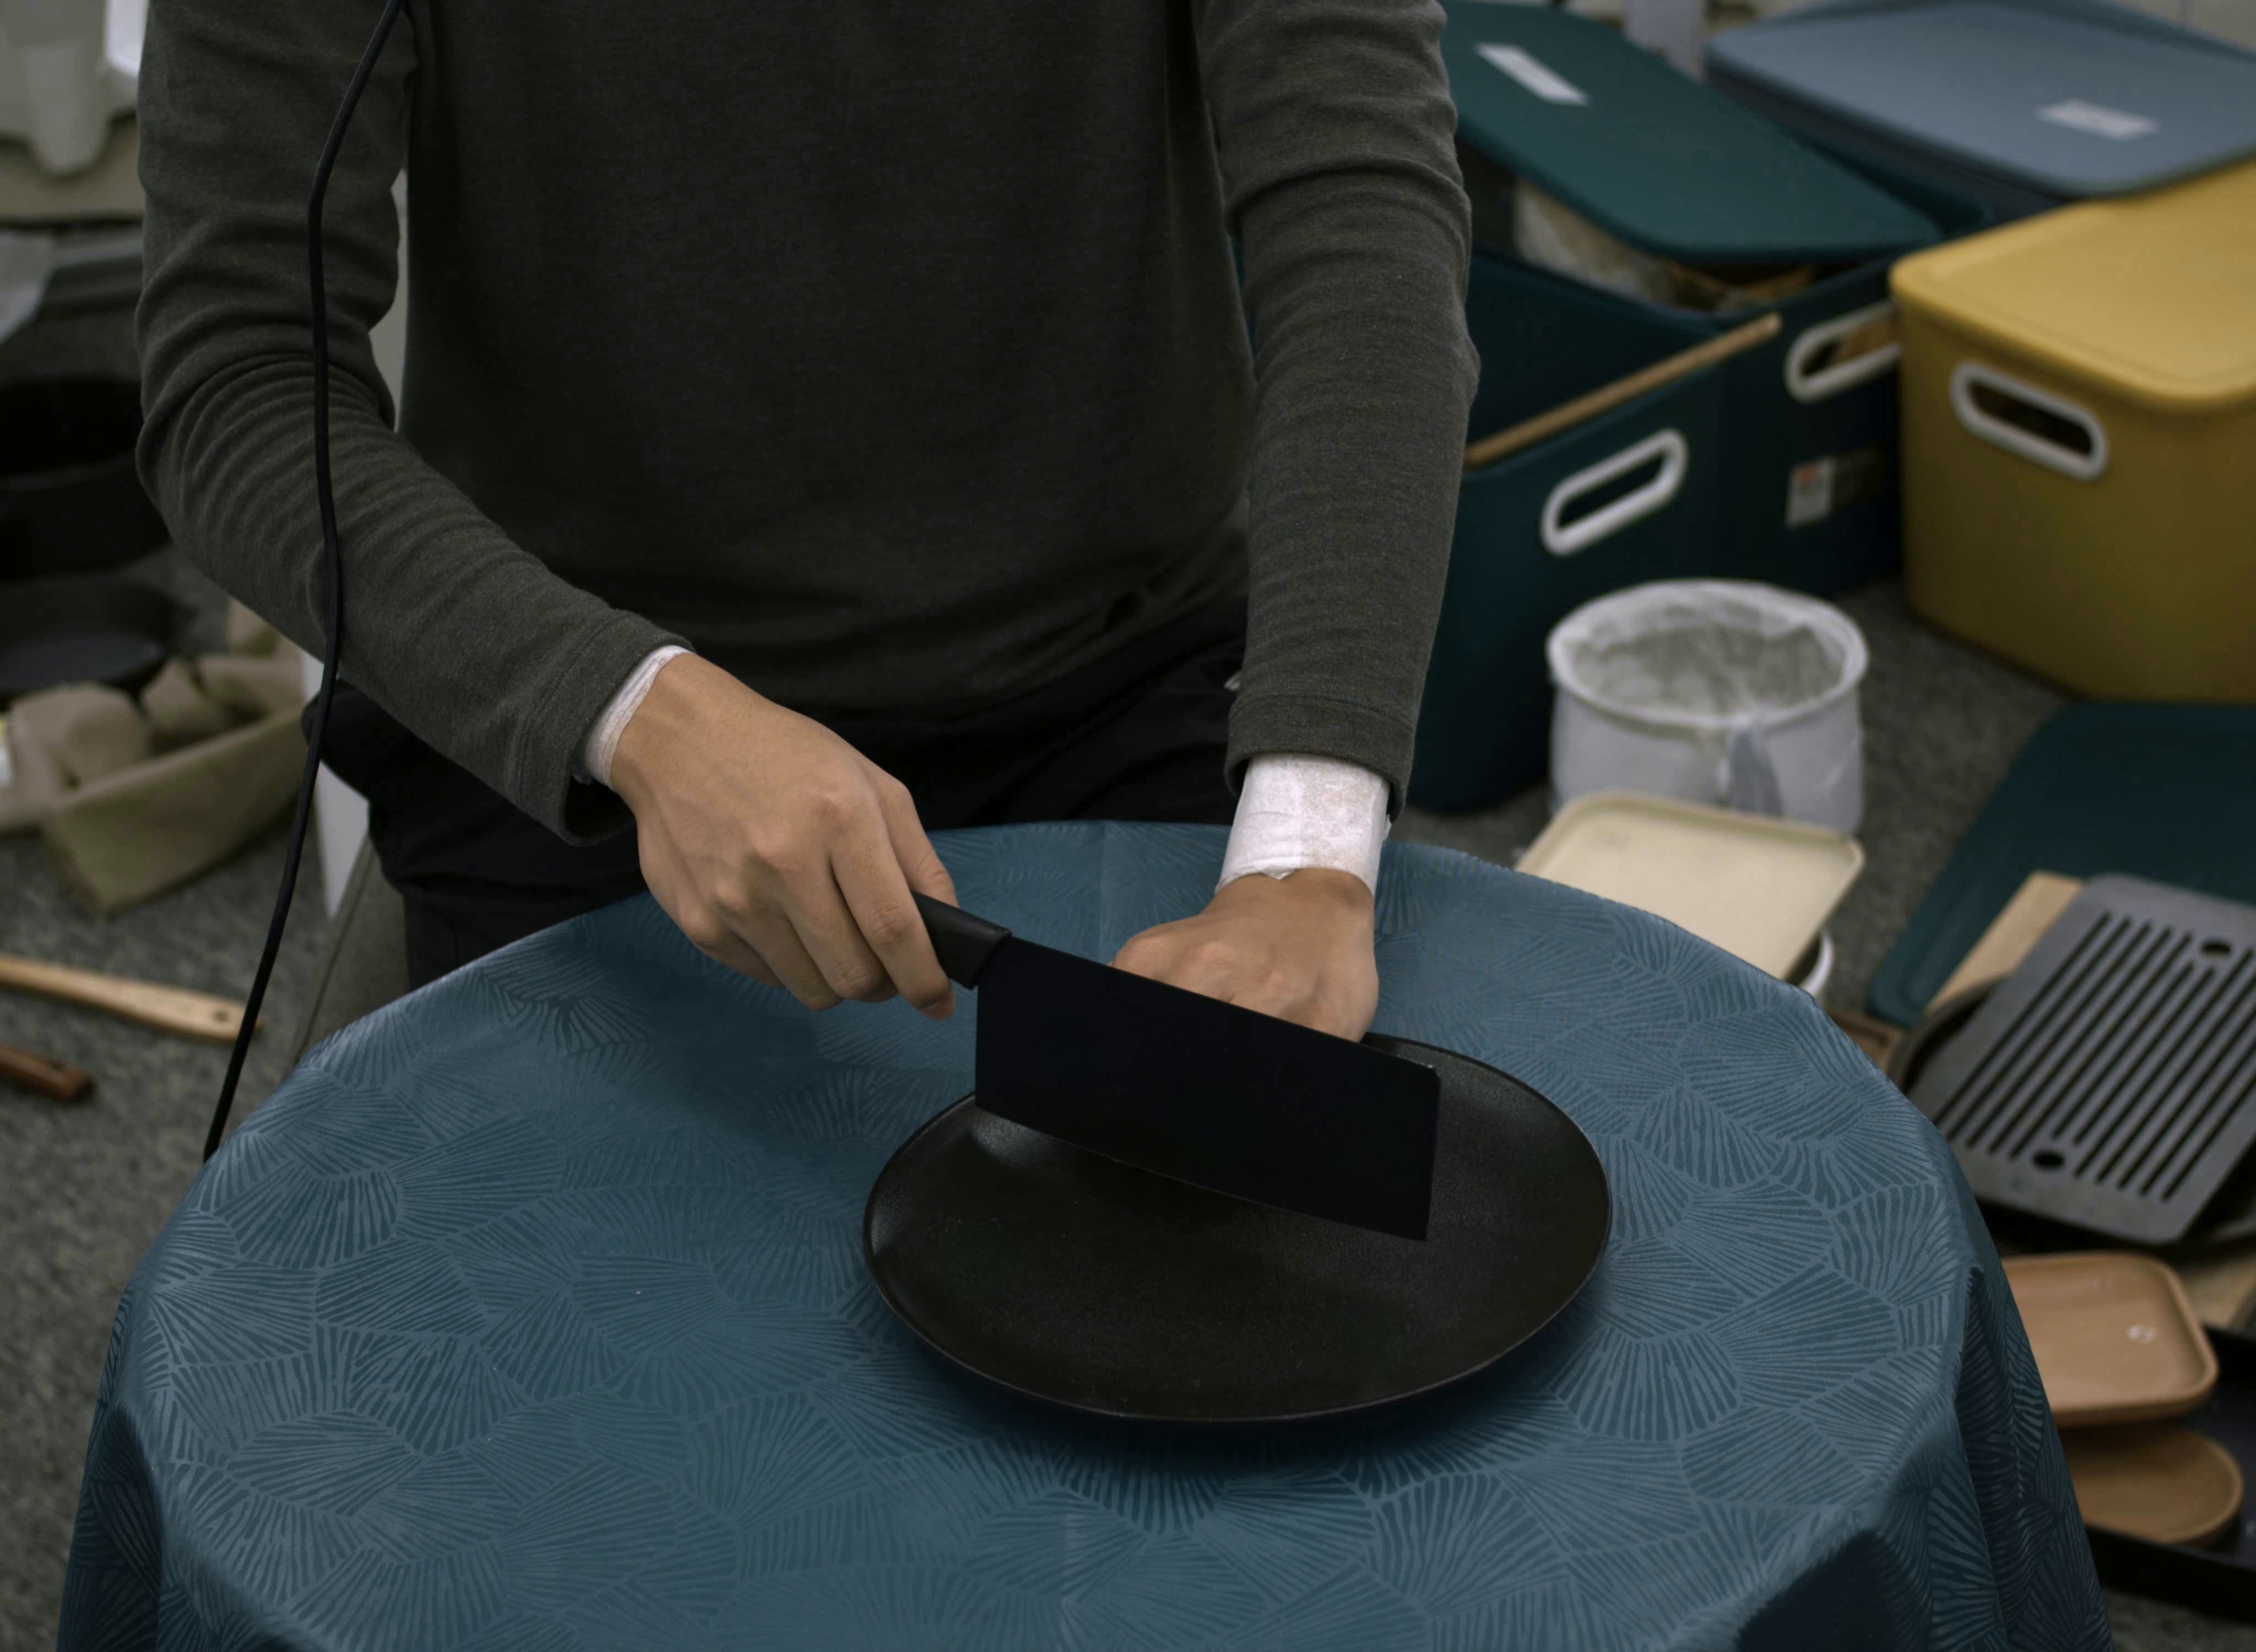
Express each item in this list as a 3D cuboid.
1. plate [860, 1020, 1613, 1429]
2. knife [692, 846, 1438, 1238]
[{"bbox_3d":[0.035,0.133,1.812,0.243,0.023,0.248,-2,28,1],"label":"plate"},{"bbox_3d":[-0.024,0.066,1.844,0.301,0.080,0.021,21,23,31],"label":"knife"}]
